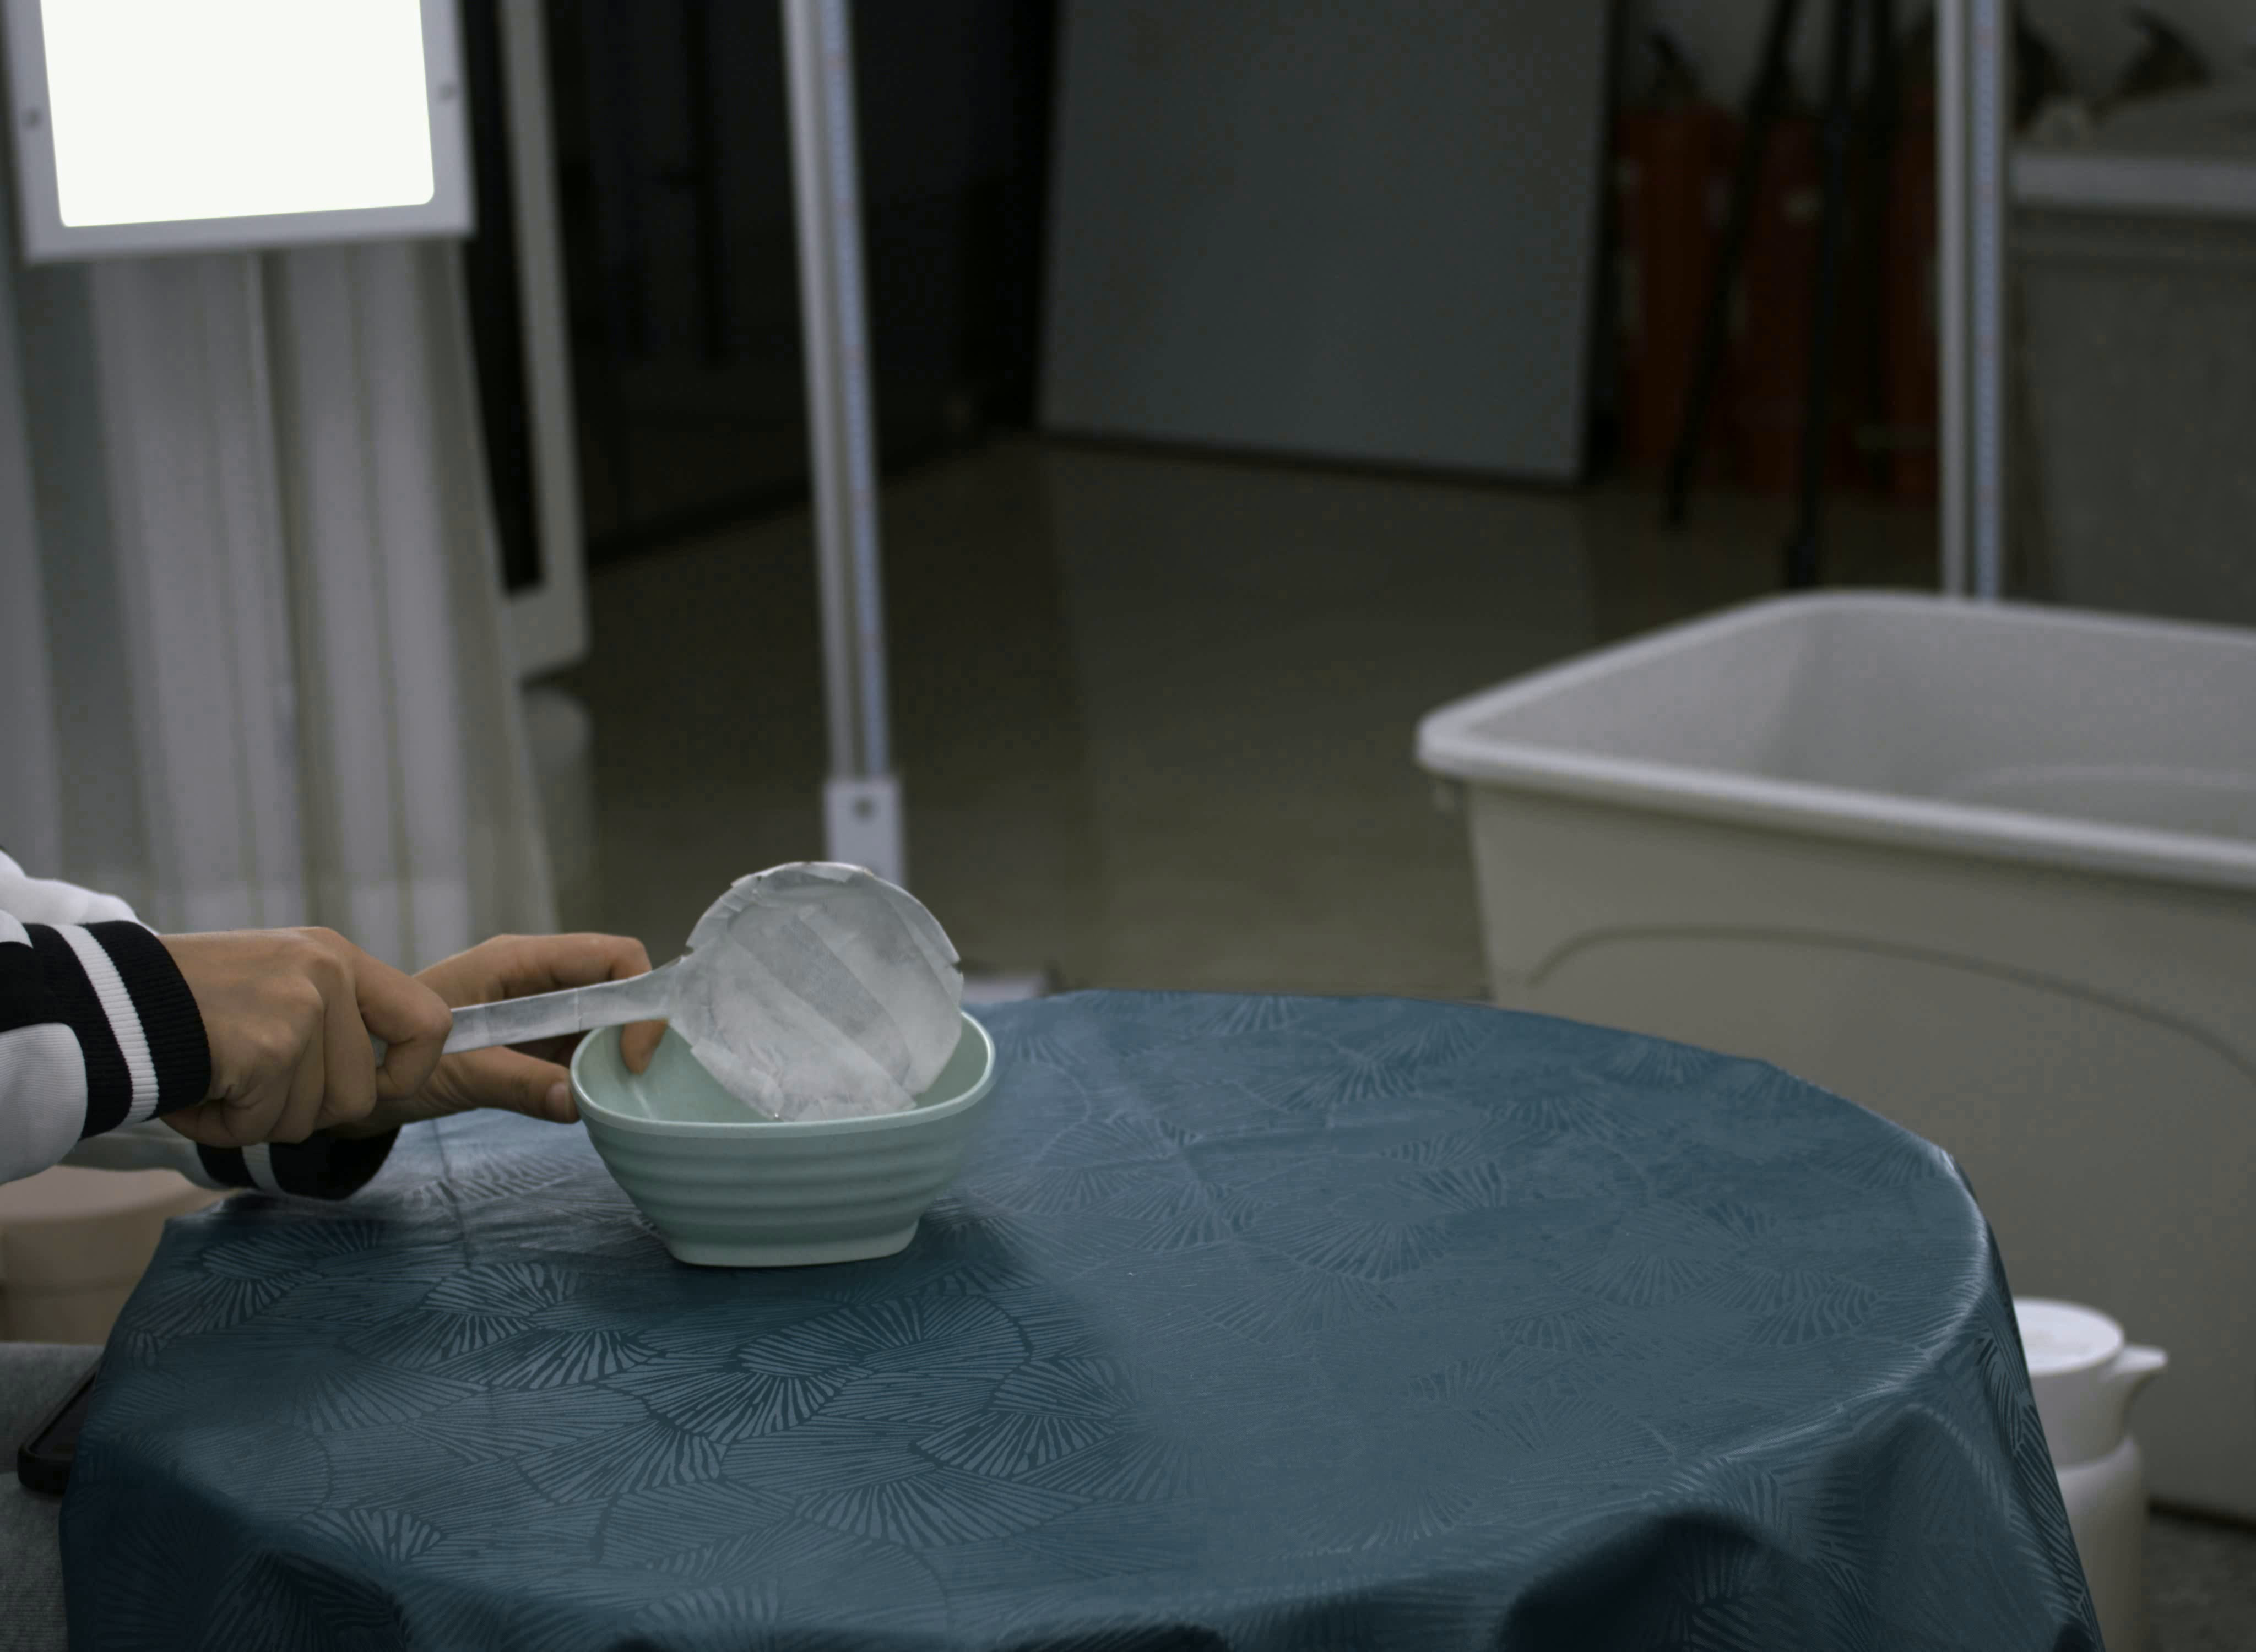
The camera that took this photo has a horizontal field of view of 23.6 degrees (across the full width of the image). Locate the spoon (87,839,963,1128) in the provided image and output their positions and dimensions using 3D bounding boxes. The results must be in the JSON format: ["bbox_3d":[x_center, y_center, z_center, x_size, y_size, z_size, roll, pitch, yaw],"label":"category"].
[{"bbox_3d":[-0.184,0.060,1.692,0.271,0.102,0.060,-6,15,-28],"label":"spoon"}]

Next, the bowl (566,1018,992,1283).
[{"bbox_3d":[-0.112,0.107,1.748,0.149,0.059,0.152,-2,14,0],"label":"bowl"}]
